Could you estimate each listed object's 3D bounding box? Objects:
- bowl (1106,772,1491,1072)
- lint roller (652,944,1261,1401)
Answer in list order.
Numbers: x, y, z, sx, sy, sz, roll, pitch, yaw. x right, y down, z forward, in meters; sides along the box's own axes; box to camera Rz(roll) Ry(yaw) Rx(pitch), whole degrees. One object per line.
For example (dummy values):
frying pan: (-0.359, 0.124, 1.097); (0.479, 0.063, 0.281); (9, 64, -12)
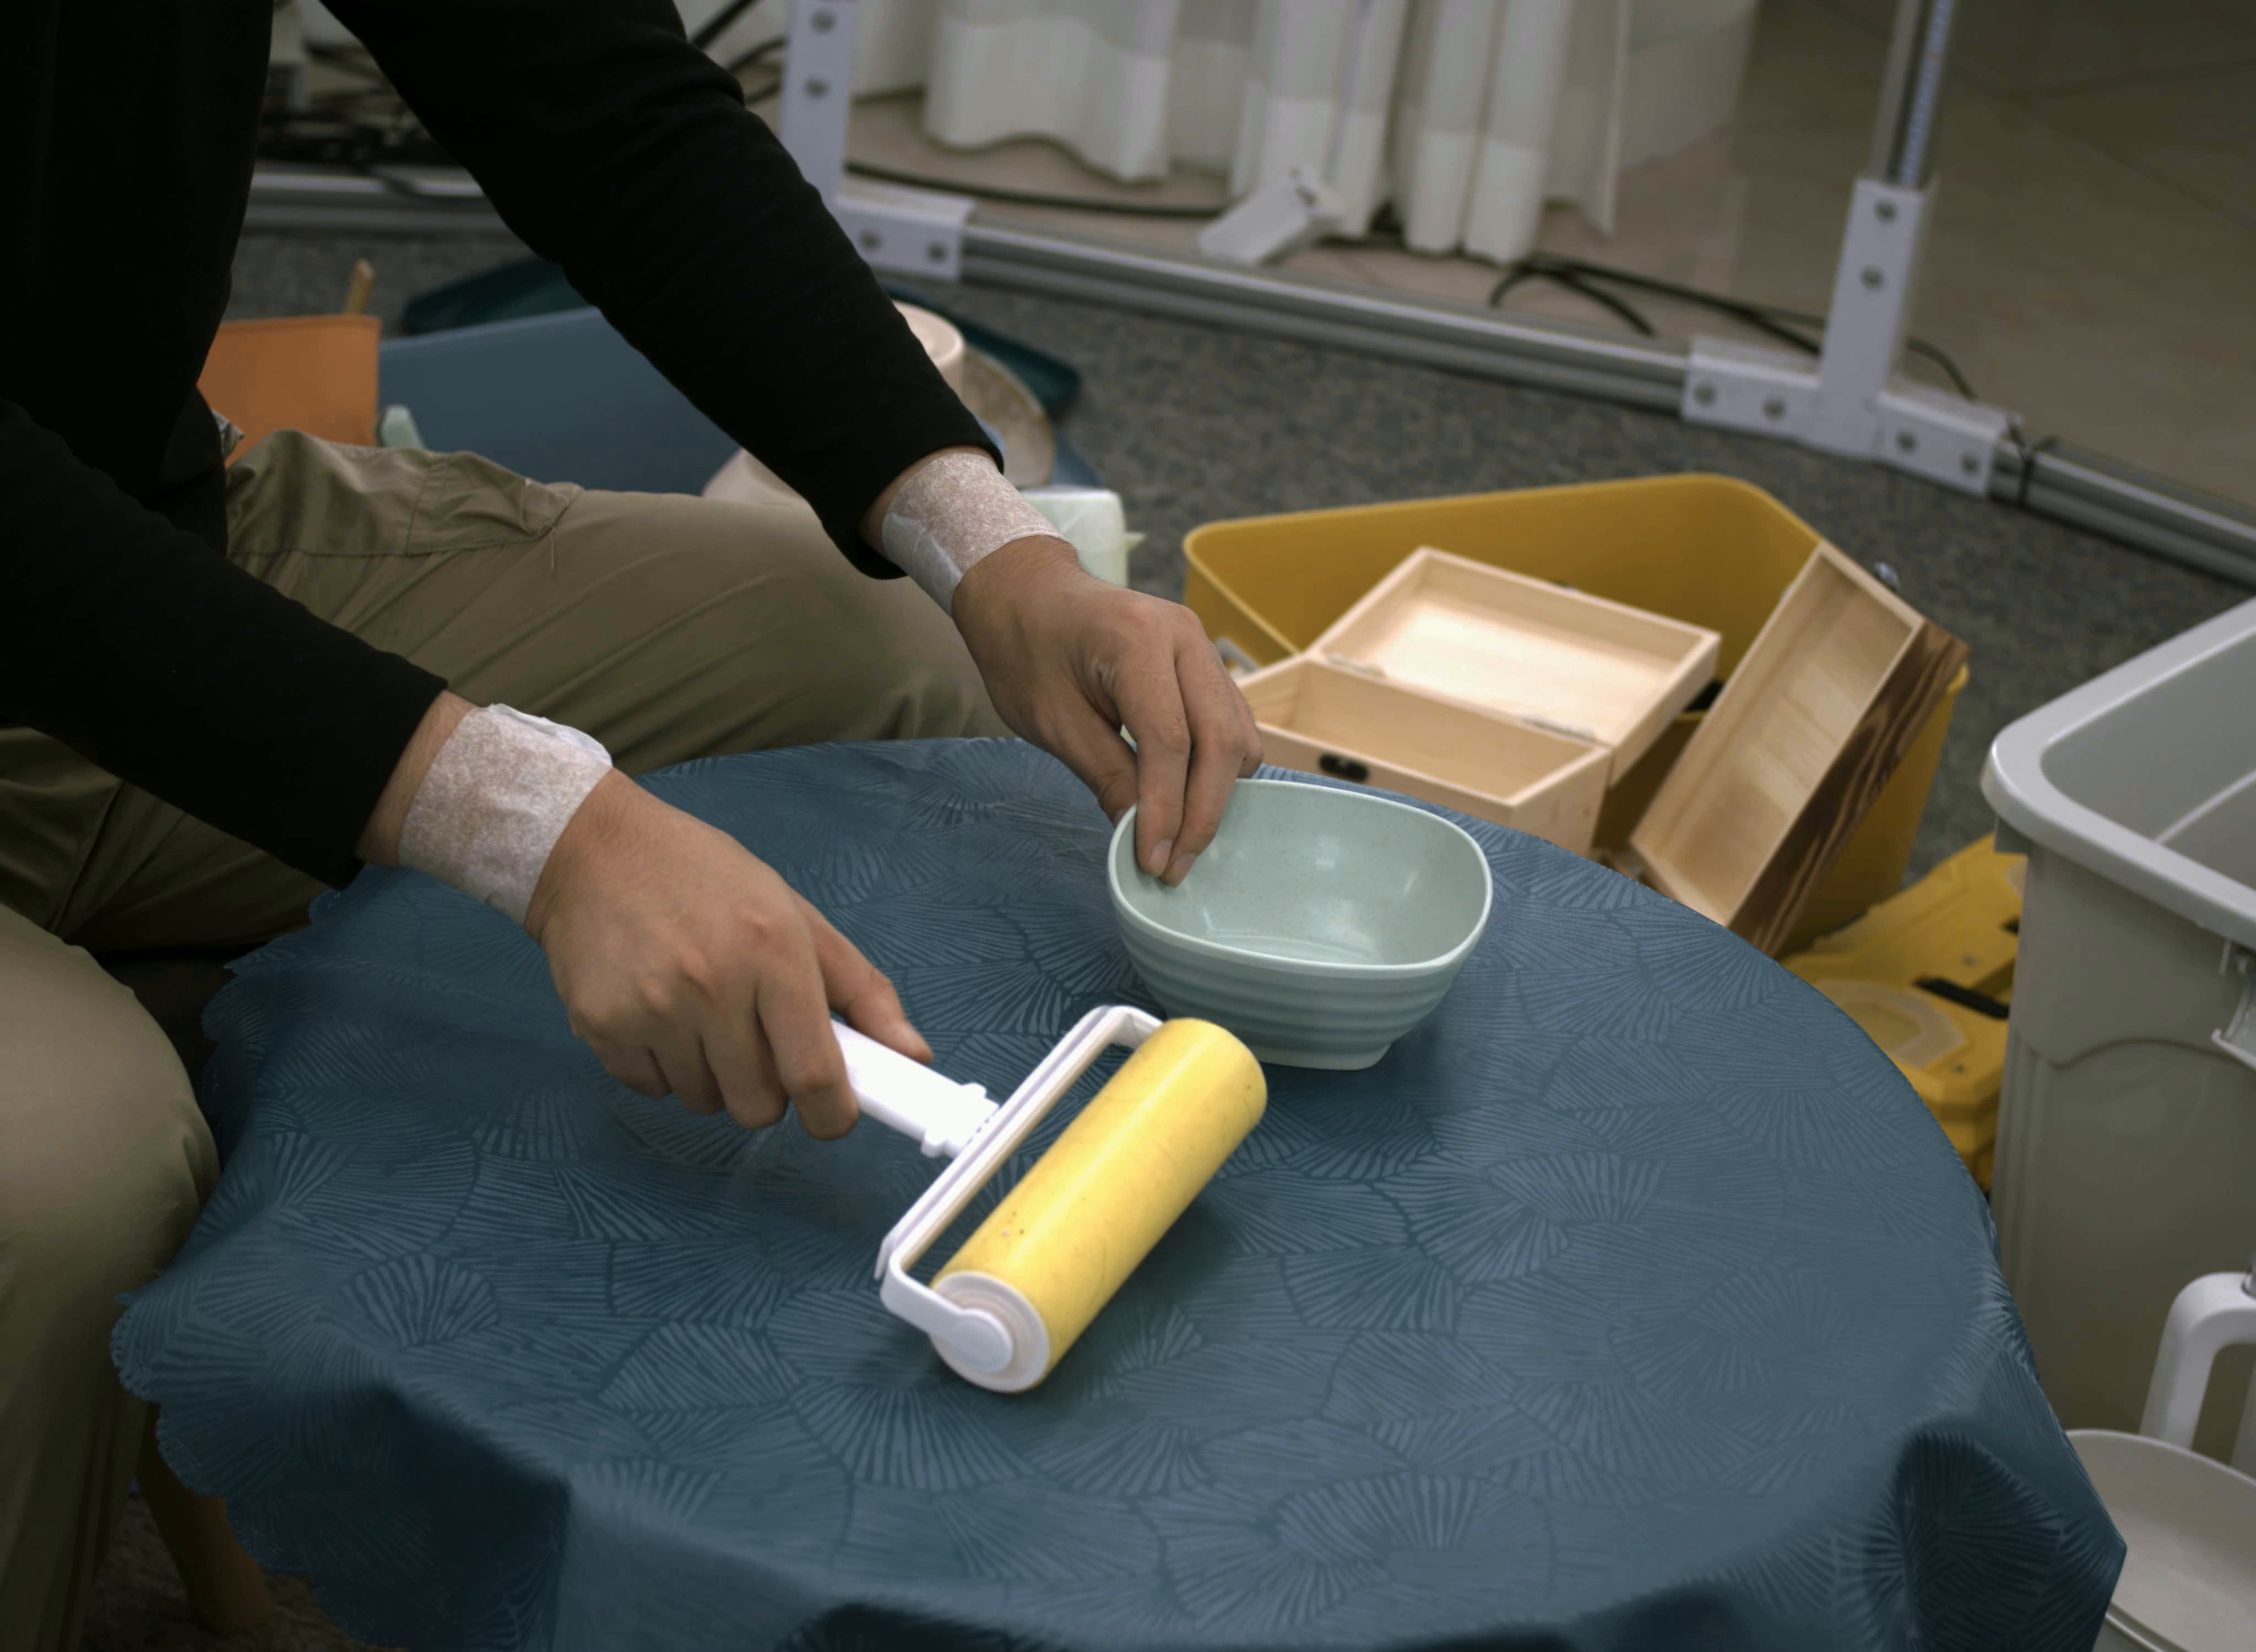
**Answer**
bowl: (0.058, 0.040, 1.915); (0.151, 0.058, 0.152); (7, 28, -4)
lint roller: (-0.069, 0.085, 1.742); (0.192, 0.051, 0.174); (35, 39, 6)
